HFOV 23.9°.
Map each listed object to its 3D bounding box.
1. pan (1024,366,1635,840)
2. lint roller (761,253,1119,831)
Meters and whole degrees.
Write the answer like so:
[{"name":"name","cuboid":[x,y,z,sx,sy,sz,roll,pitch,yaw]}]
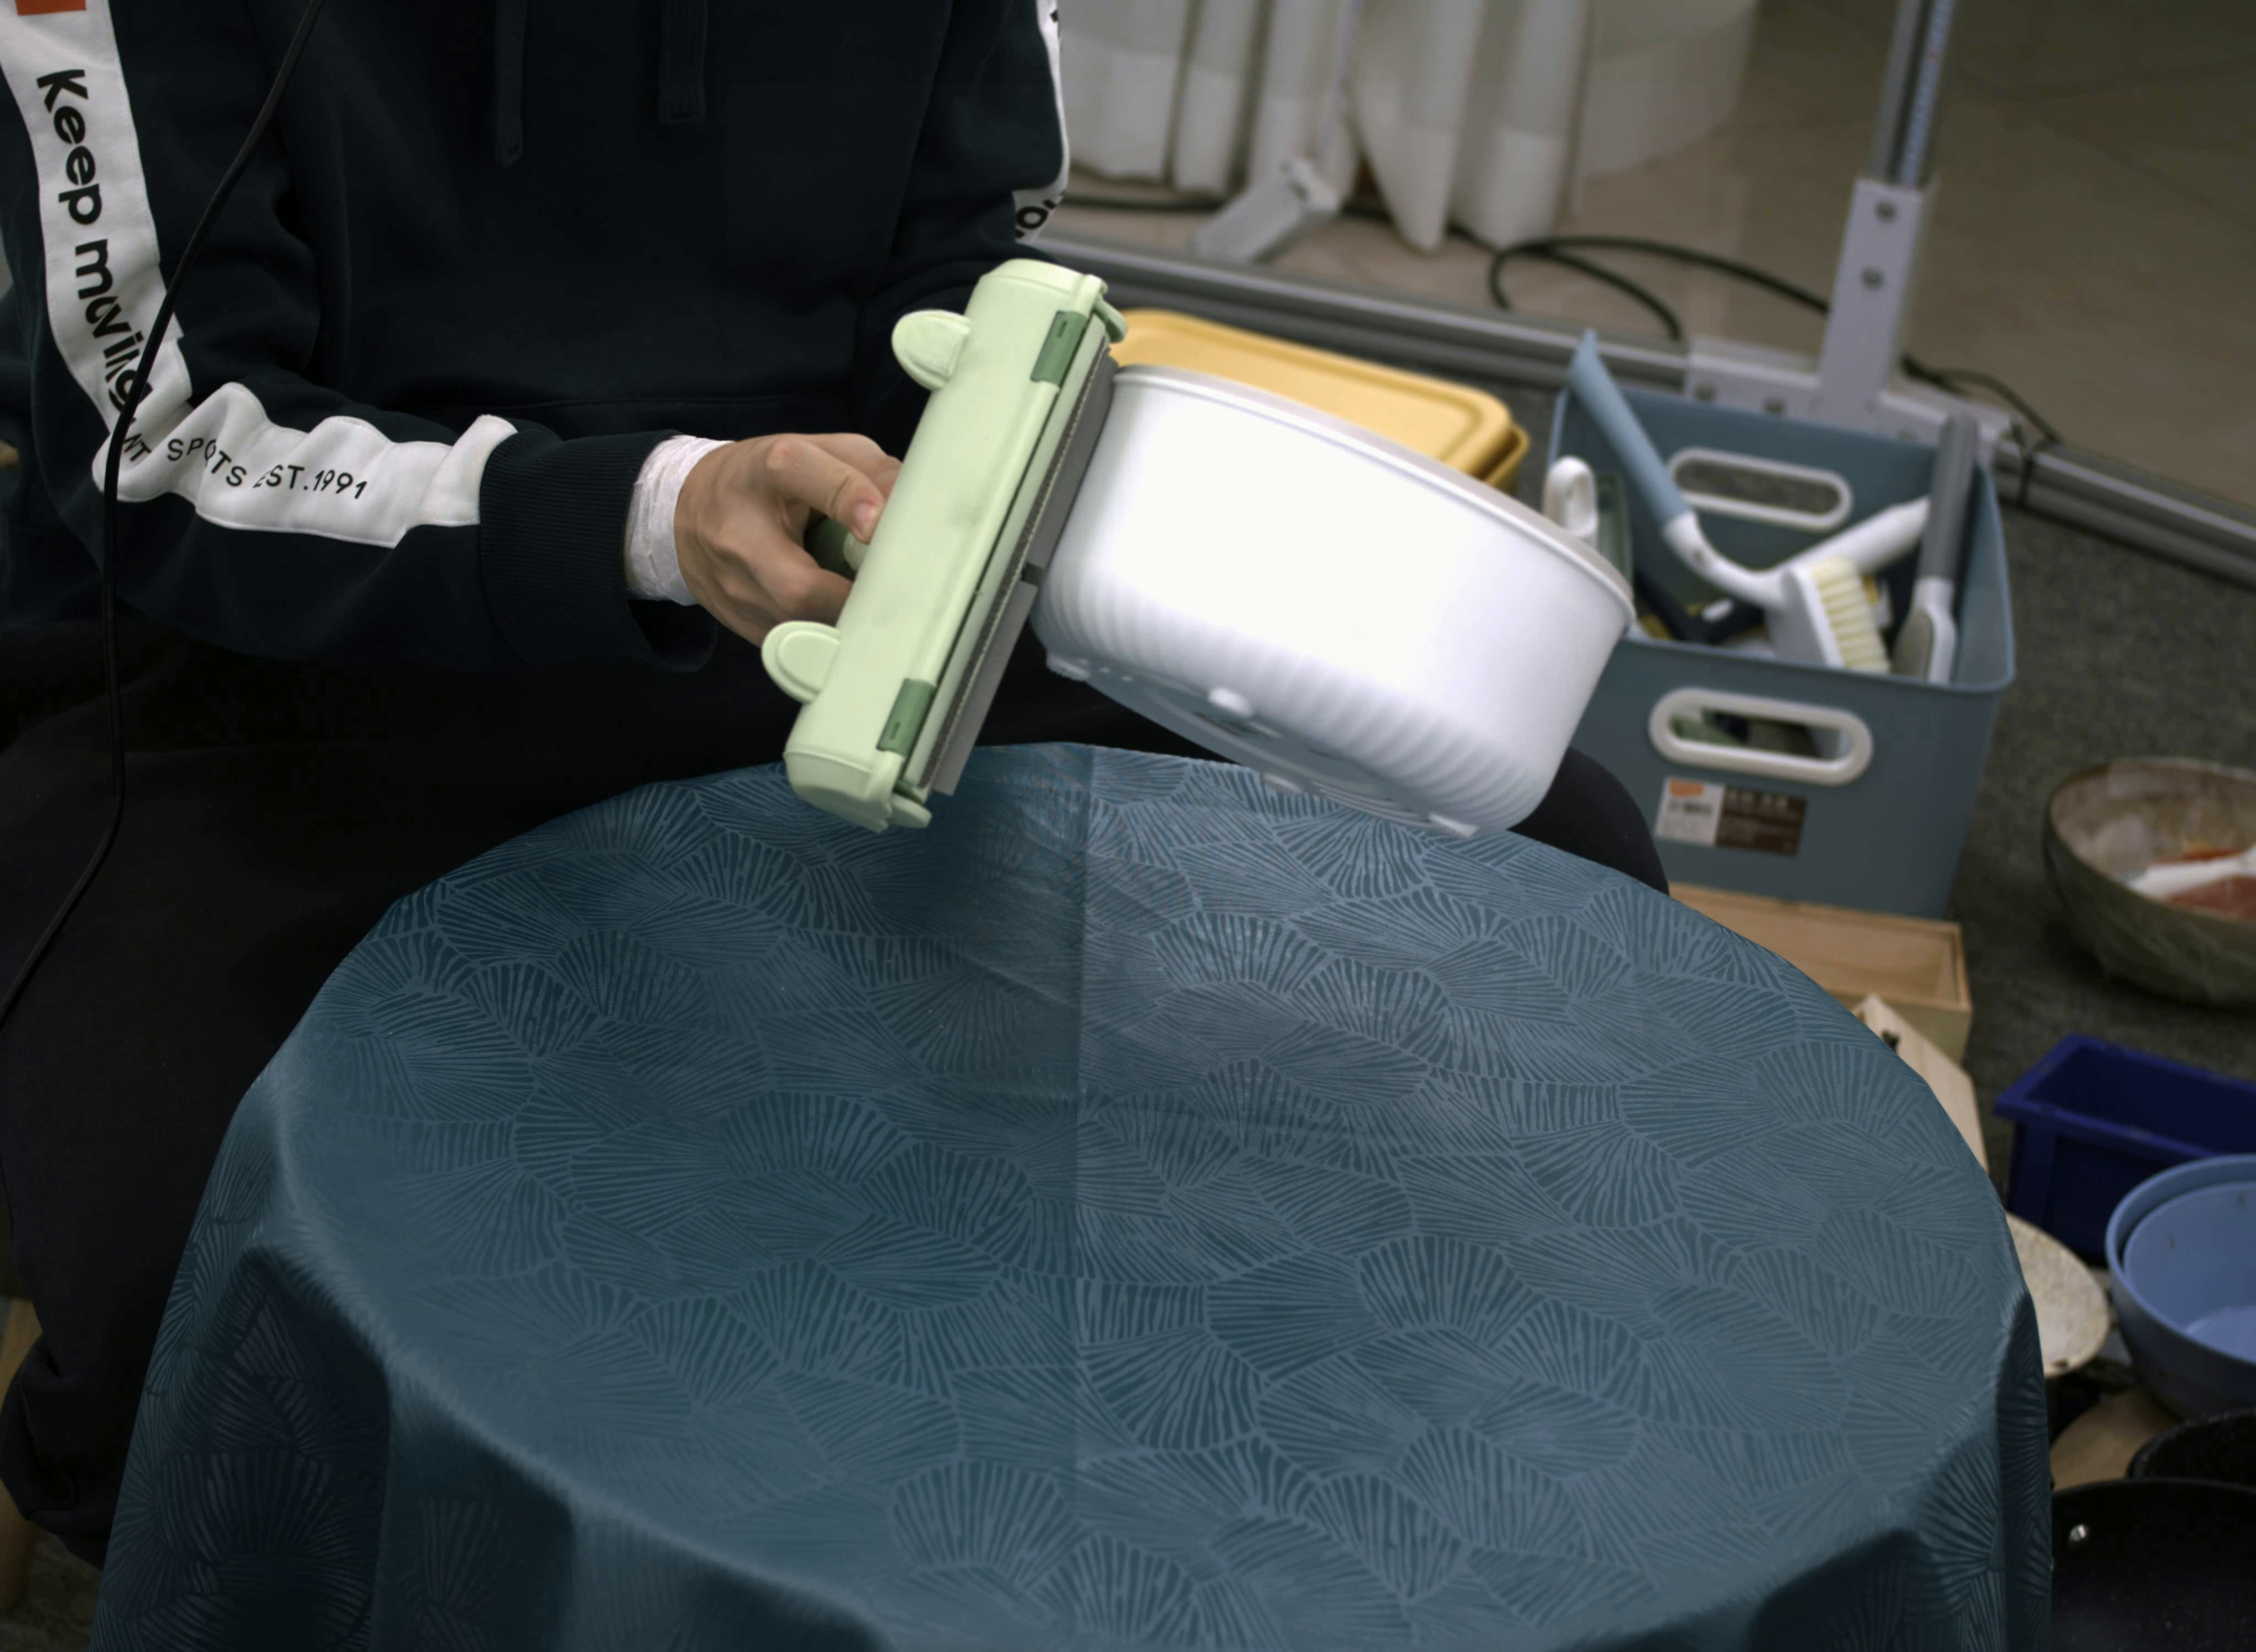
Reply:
[{"name":"pan","cuboid":[0.023,-0.079,1.886,0.199,0.102,0.357,27,-8,-32]},{"name":"lint roller","cuboid":[-0.094,-0.100,1.824,0.081,0.199,0.184,28,-14,-32]}]
